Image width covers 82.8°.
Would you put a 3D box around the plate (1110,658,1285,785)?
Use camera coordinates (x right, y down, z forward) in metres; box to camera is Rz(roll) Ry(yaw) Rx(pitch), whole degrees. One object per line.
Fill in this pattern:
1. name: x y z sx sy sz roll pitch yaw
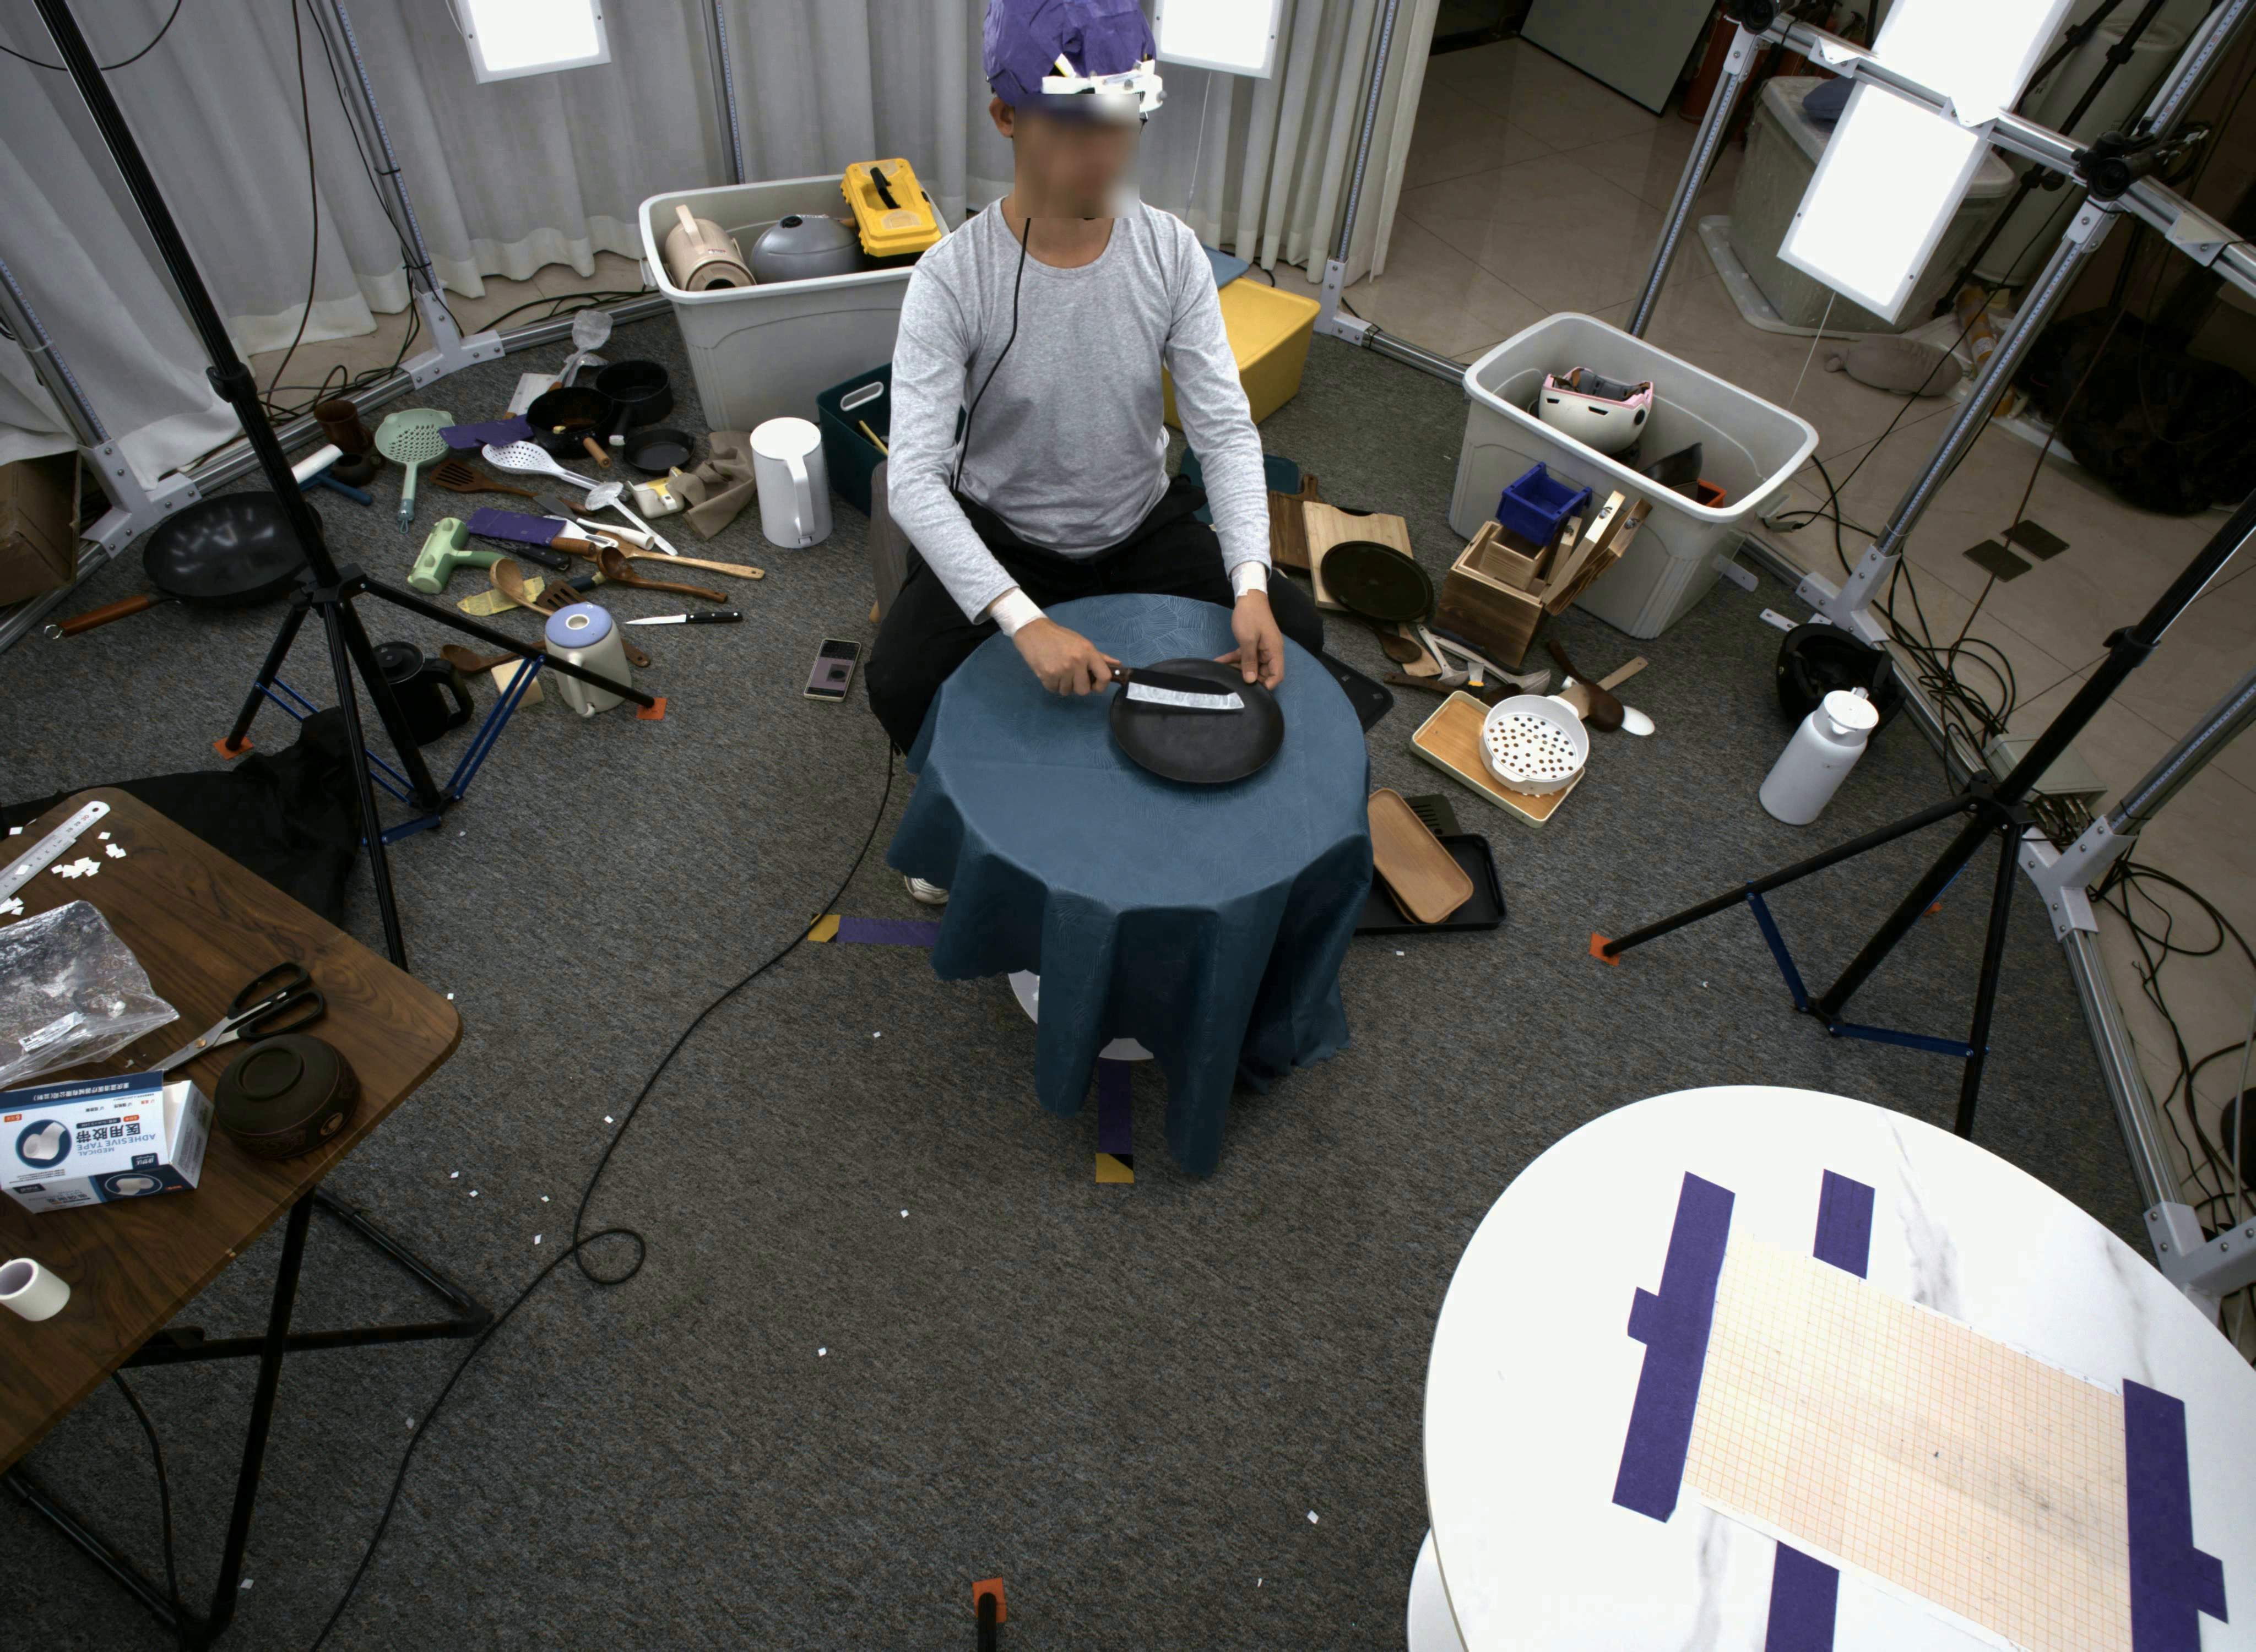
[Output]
1. plate: 0.096 -0.144 1.784 0.244 0.023 0.250 2 49 -2

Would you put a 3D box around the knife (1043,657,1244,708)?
1. knife: 0.023 -0.200 1.790 0.288 0.020 0.050 10 87 -4
